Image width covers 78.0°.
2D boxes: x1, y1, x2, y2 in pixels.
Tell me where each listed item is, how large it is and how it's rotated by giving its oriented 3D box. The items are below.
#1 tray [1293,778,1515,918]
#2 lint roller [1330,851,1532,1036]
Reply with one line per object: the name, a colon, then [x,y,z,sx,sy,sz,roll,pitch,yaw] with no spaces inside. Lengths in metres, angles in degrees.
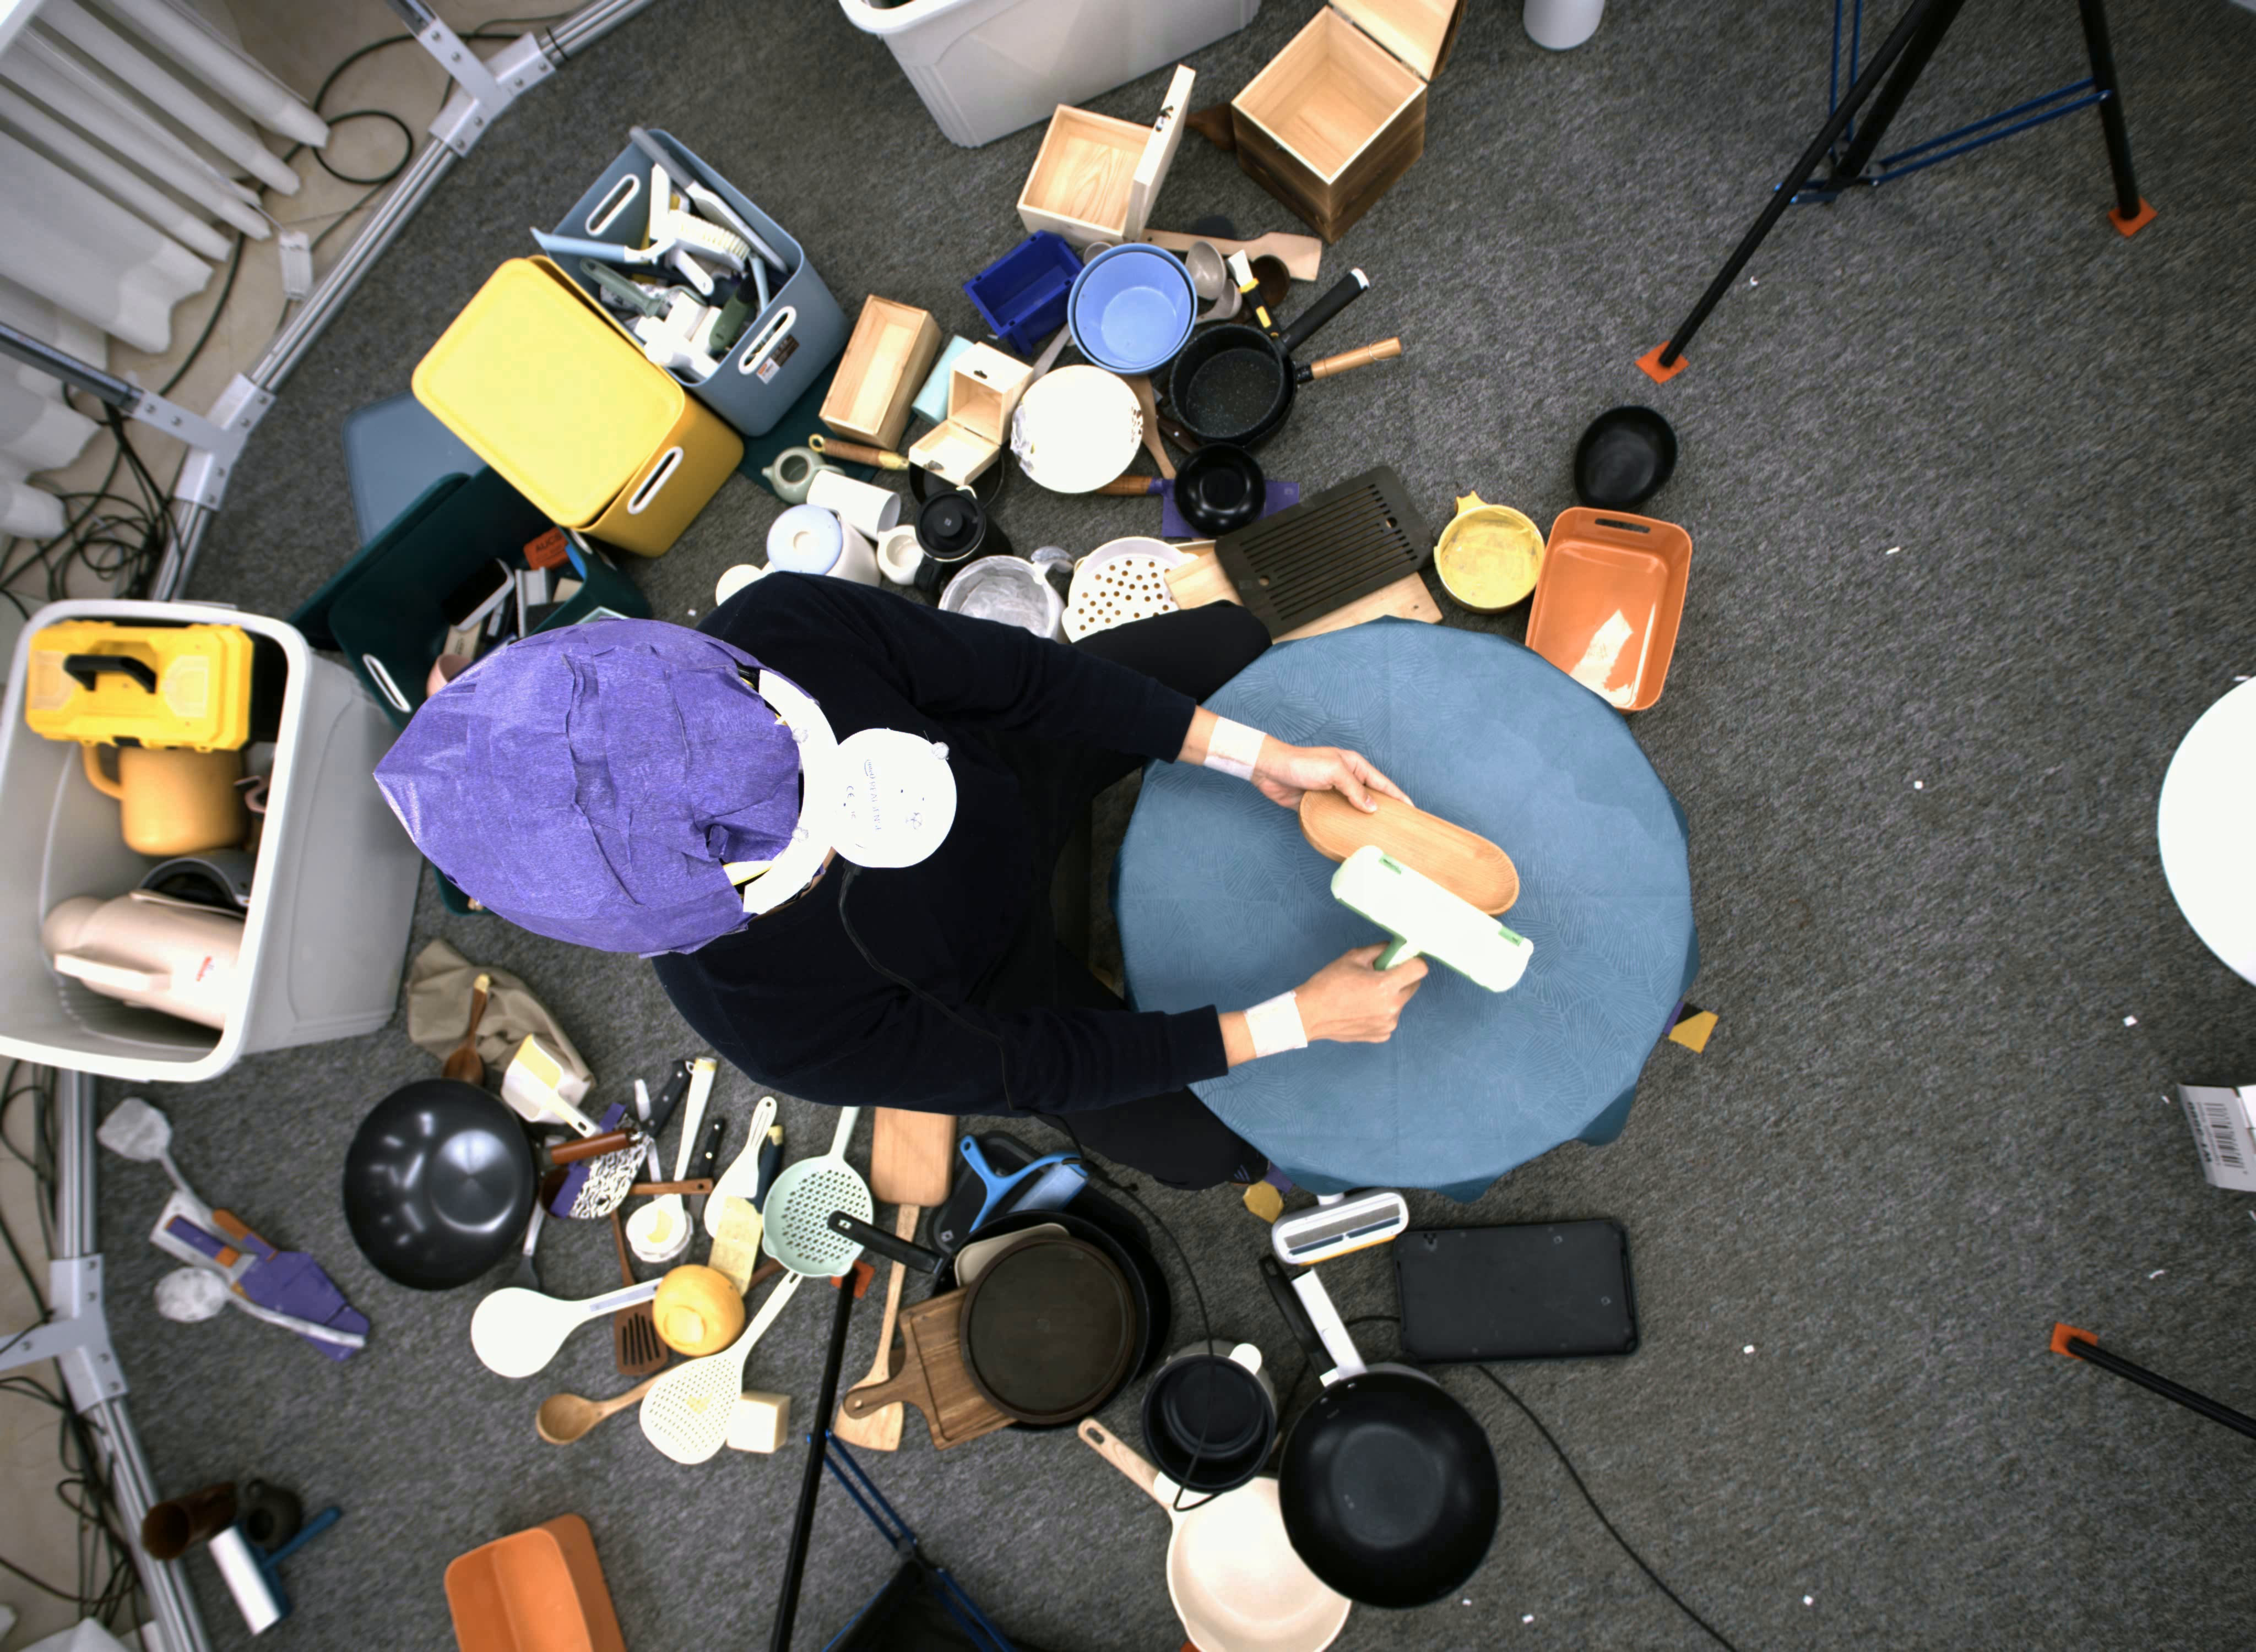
tray: [0.272,0.020,1.360,0.231,0.021,0.099,22,51,5]
lint roller: [0.258,0.141,1.322,0.199,0.081,0.186,30,108,-8]
